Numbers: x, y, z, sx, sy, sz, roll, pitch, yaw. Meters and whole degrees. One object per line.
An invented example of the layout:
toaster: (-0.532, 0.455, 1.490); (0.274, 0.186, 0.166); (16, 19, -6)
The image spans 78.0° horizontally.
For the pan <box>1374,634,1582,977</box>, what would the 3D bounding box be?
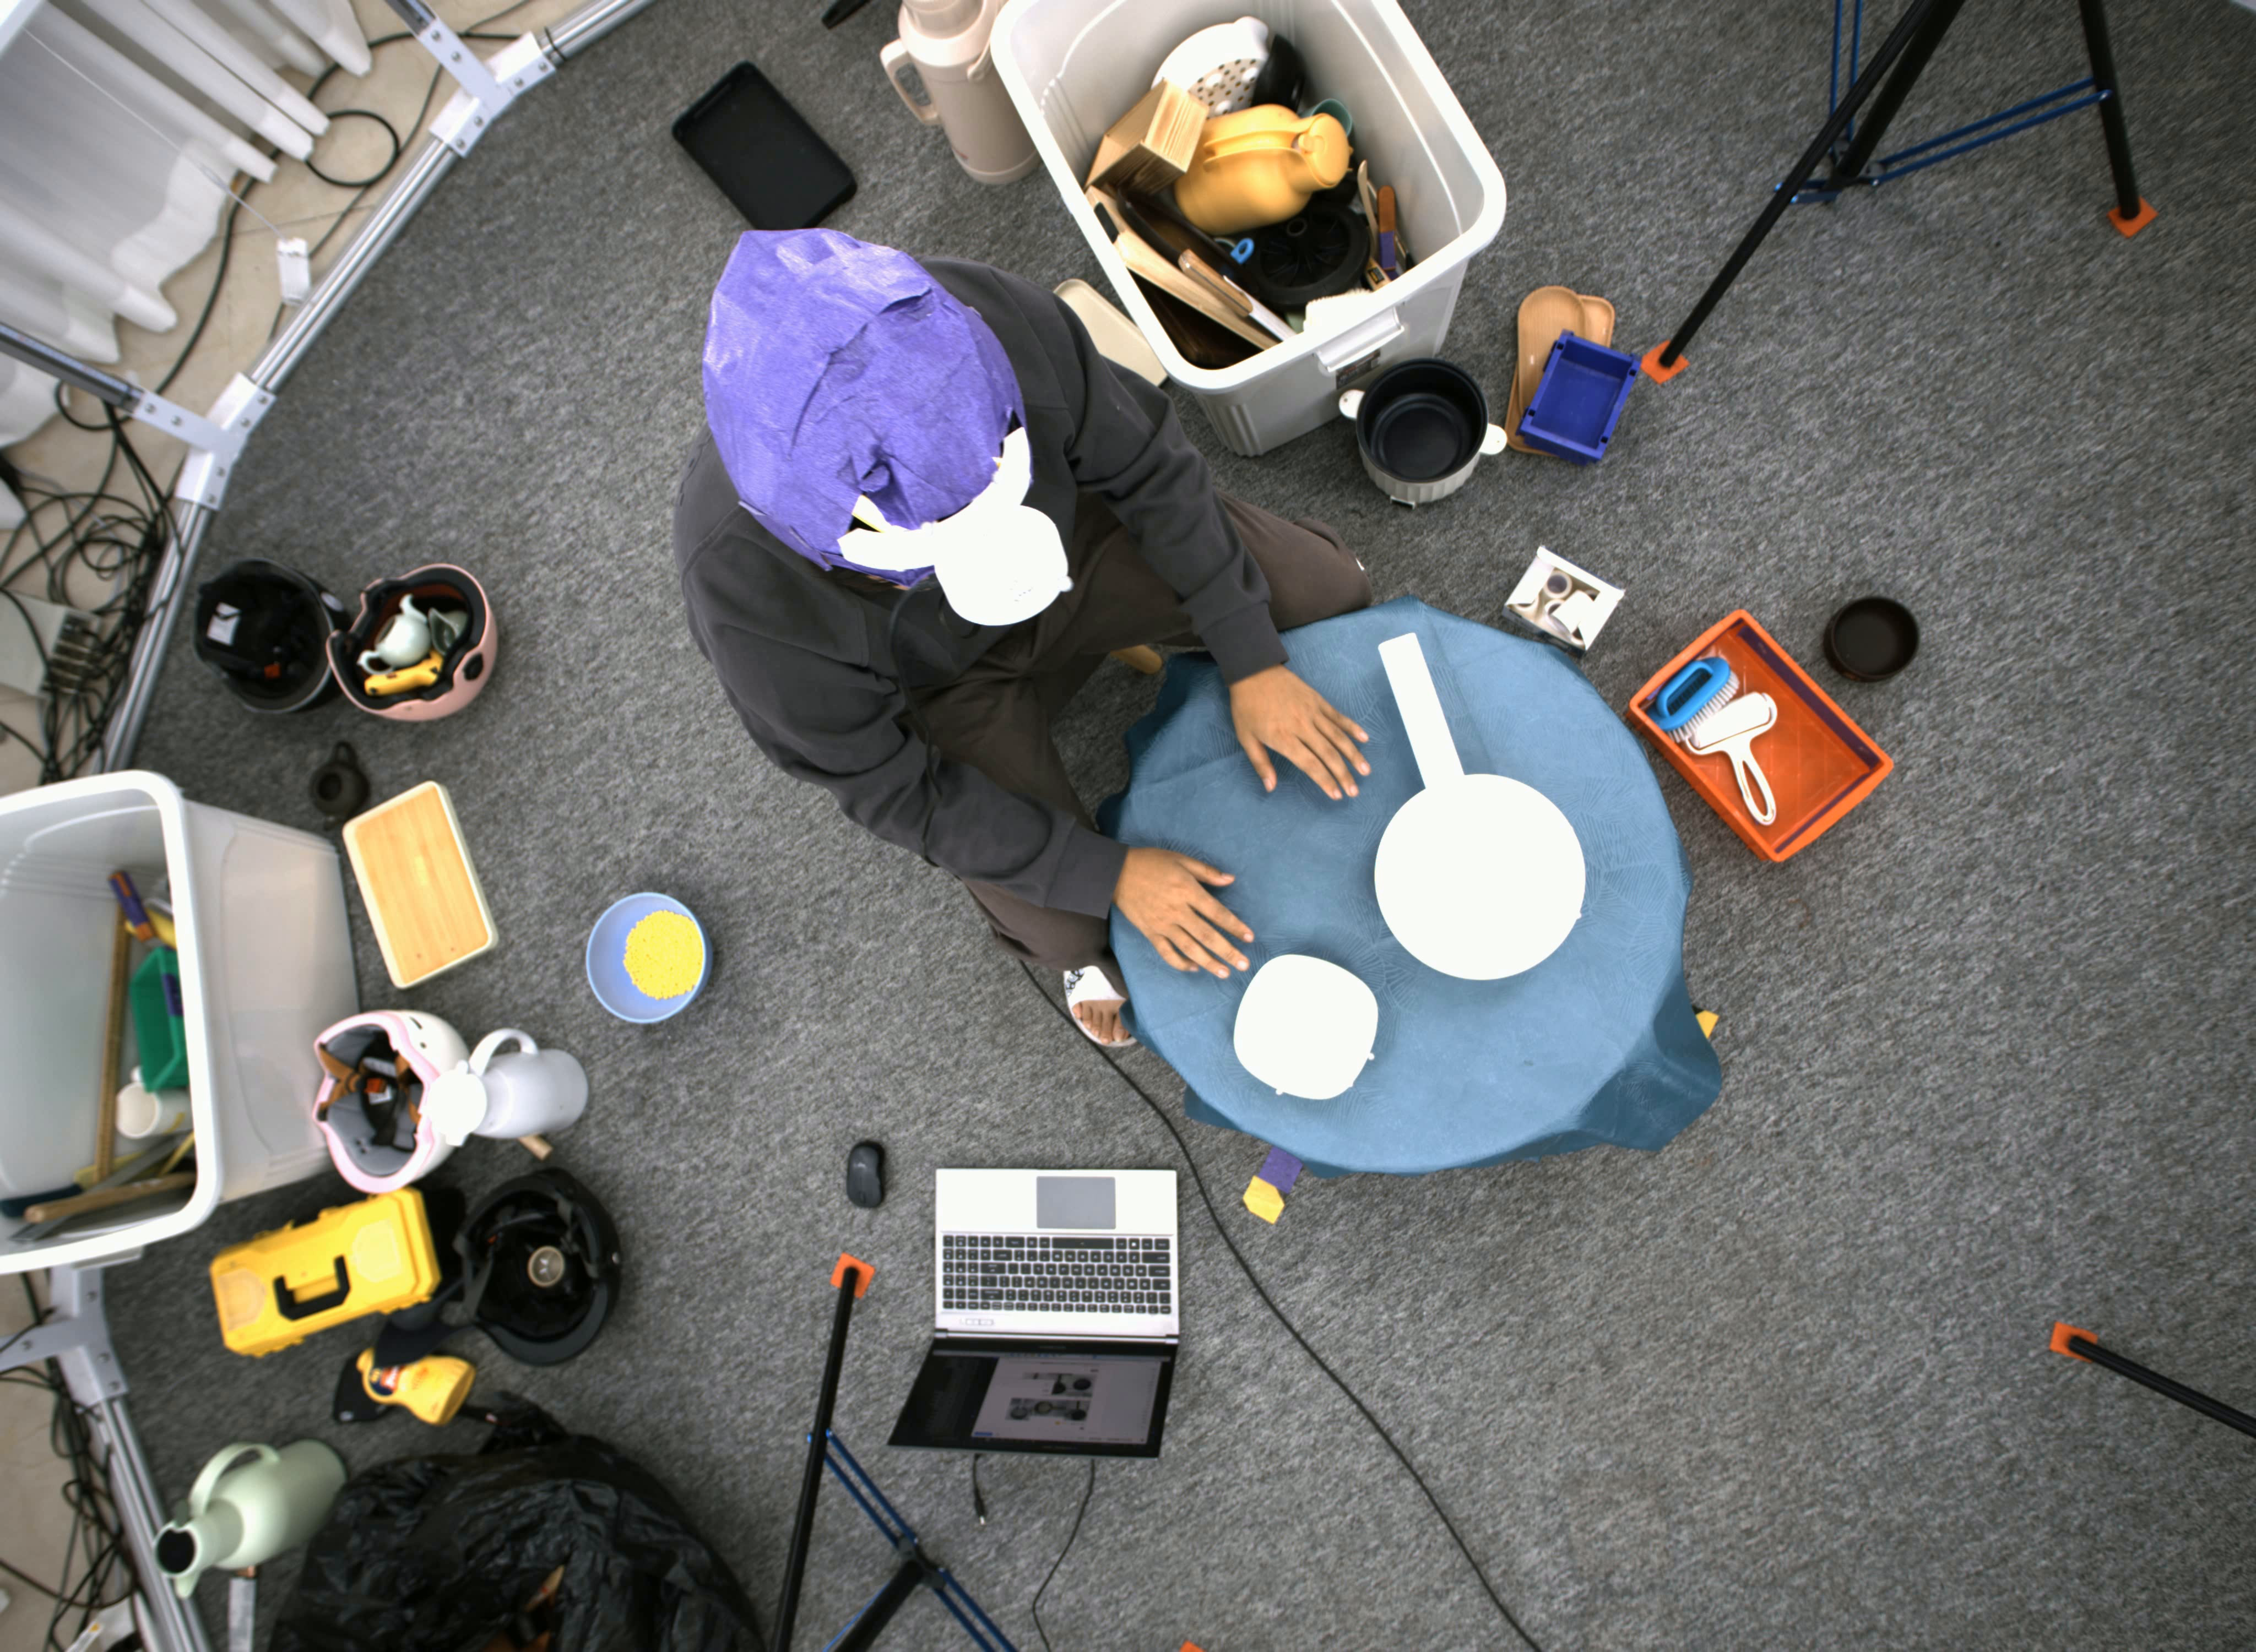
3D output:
pan: (0.330, -0.020, 1.409); (0.202, 0.102, 0.352); (-19, 82, 11)

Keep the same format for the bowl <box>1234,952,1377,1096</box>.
bowl: (0.185, 0.203, 1.441); (0.152, 0.058, 0.151); (-1, 87, 10)
